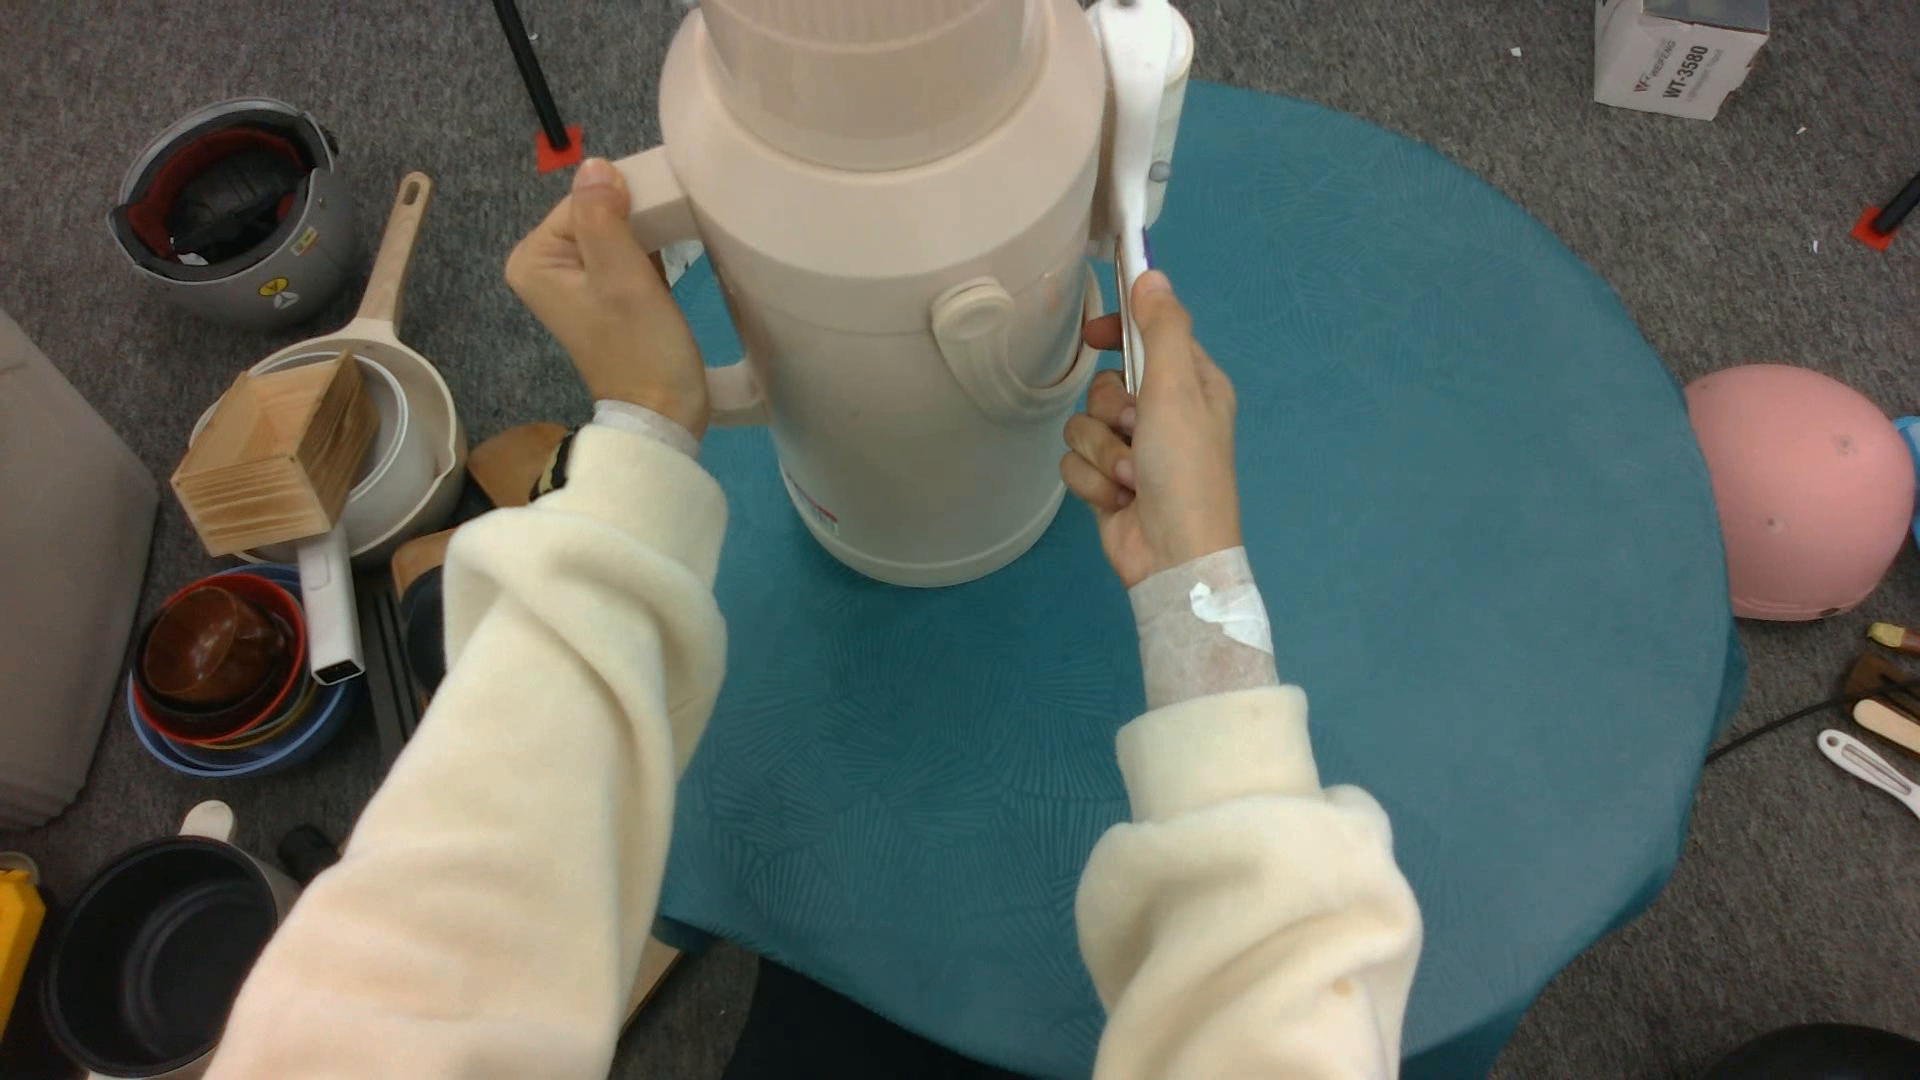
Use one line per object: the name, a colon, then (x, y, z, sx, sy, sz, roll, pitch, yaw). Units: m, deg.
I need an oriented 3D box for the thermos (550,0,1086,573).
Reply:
thermos: (-0.046, -0.125, 0.574, 0.207, 0.405, 0.175, -22, 70, -7)

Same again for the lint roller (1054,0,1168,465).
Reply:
lint roller: (0.070, -0.116, 0.545, 0.050, 0.132, 0.181, -12, 68, -4)
